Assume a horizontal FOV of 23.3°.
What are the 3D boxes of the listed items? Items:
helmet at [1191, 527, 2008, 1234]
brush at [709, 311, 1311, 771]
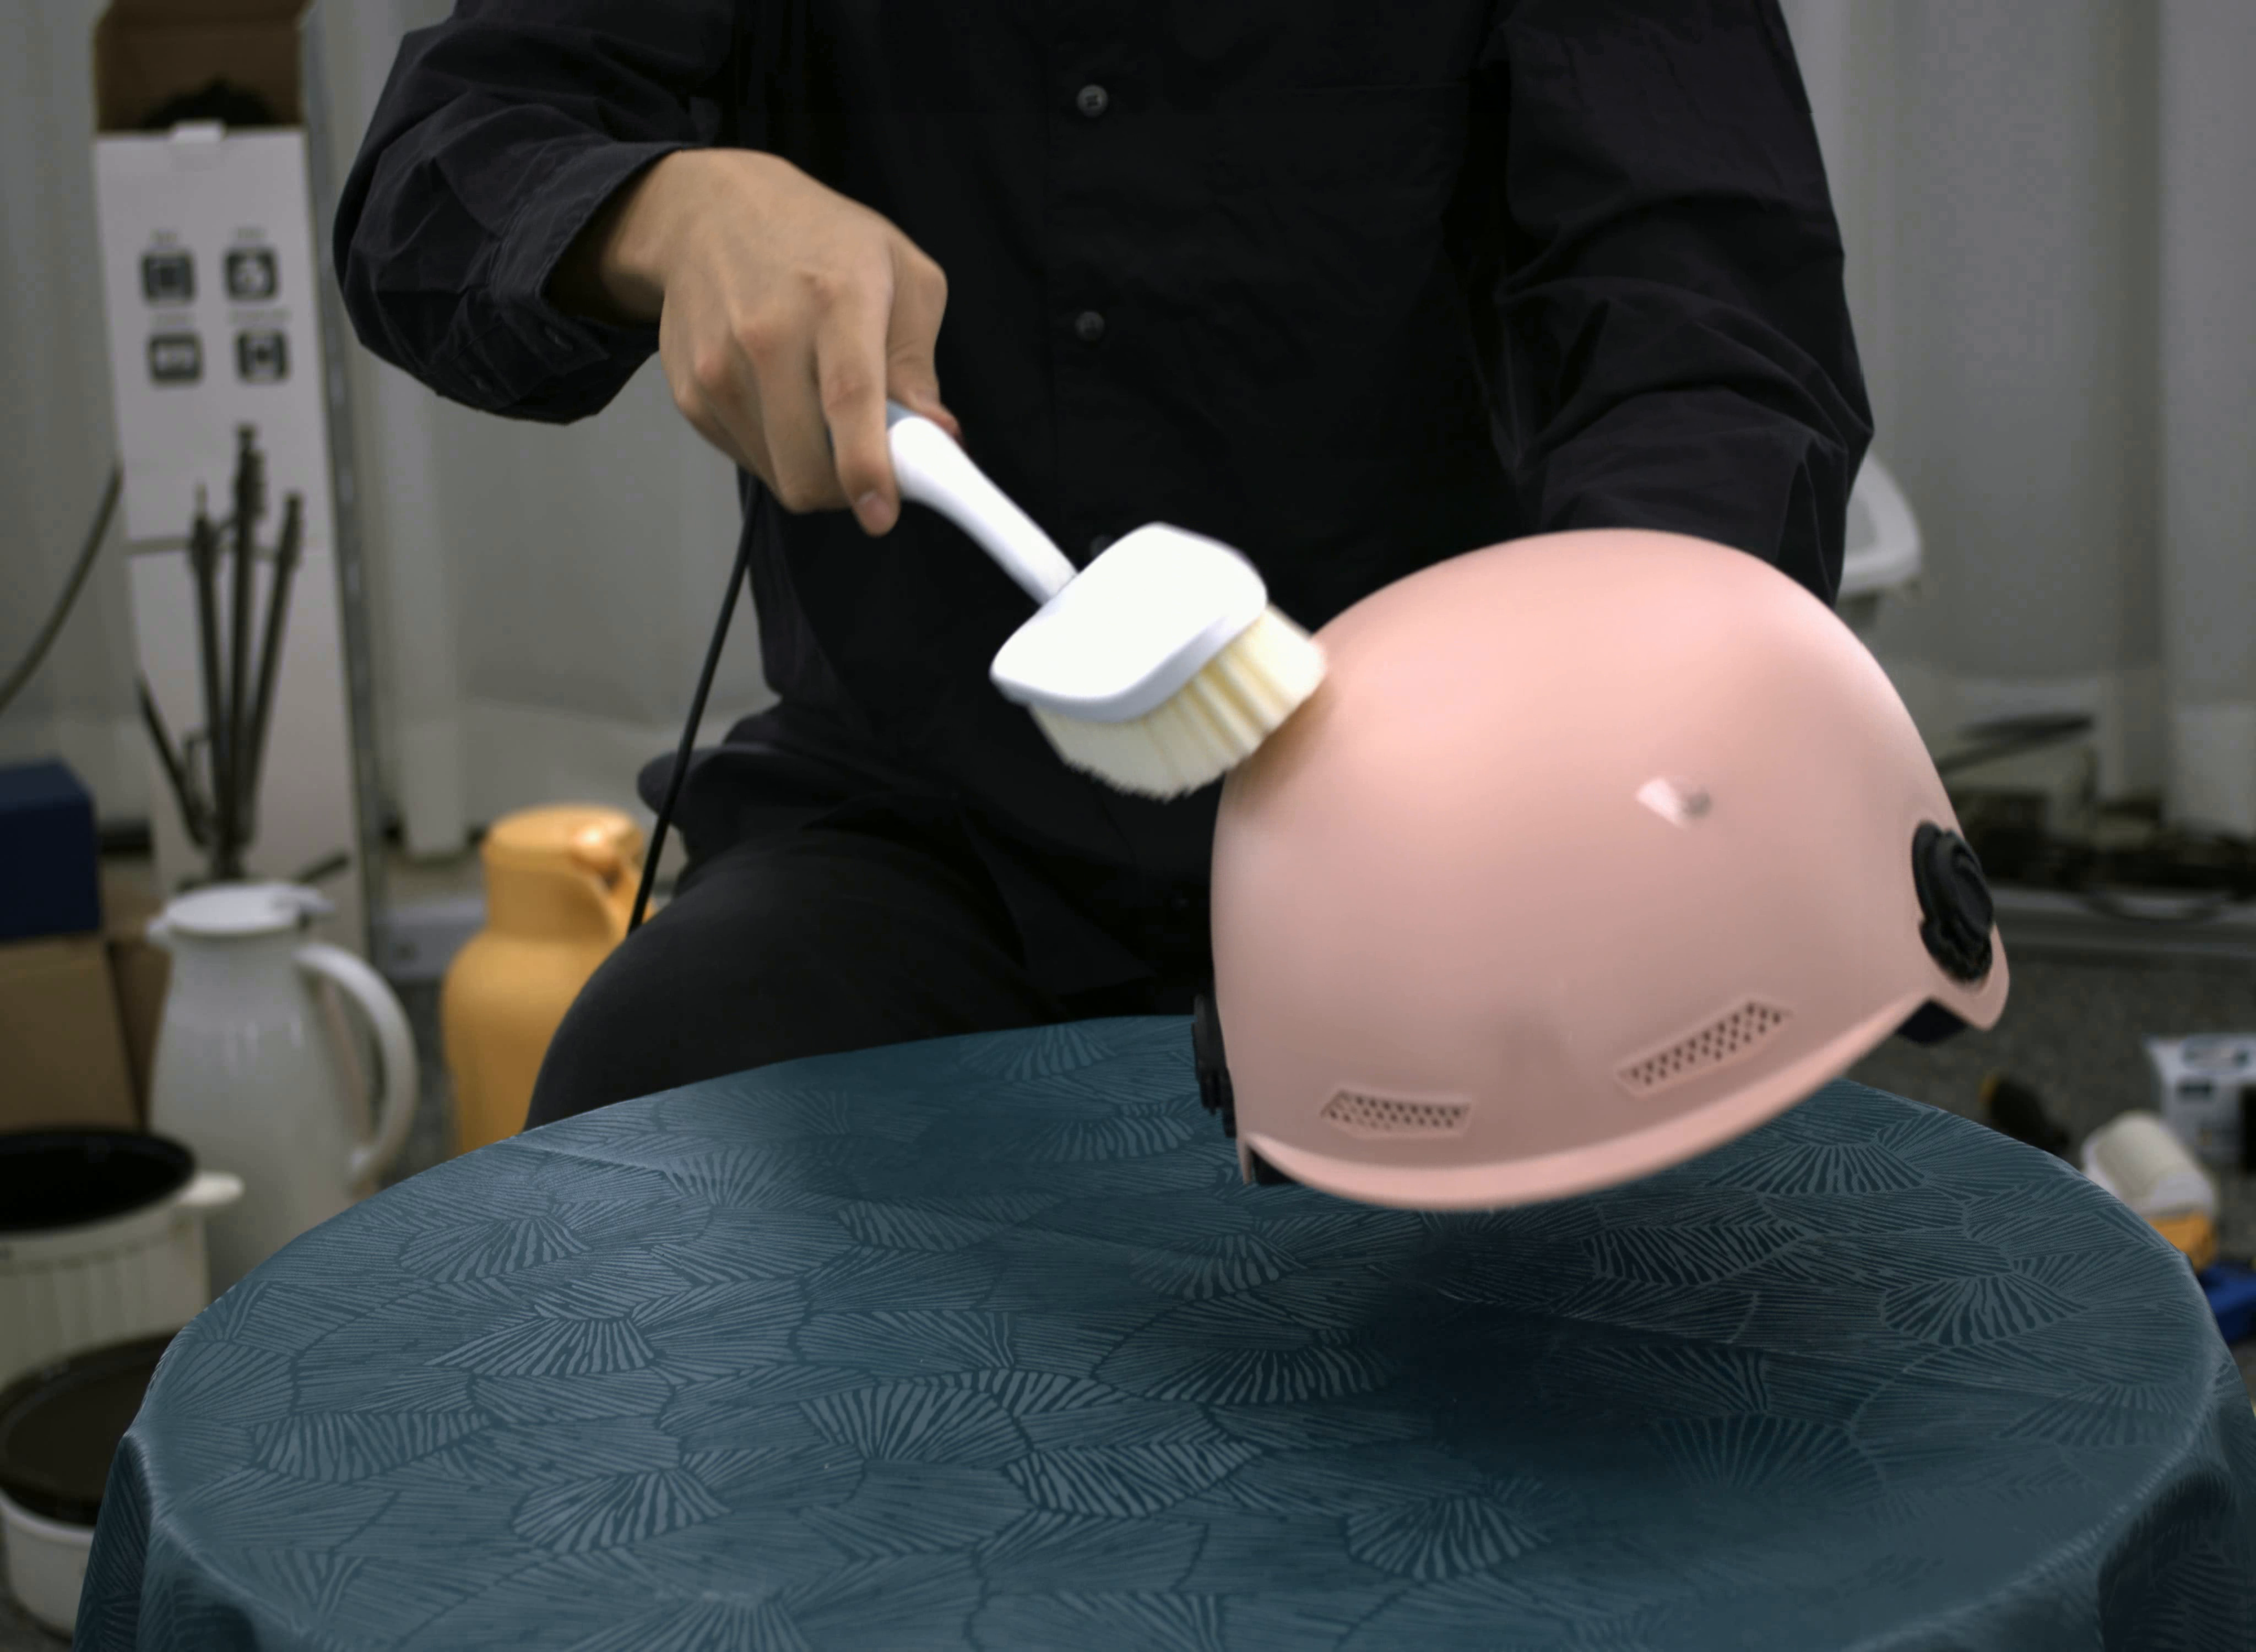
[{"bbox_3d":[0.122,0.002,1.557,0.233,0.158,0.267,-13,14,14],"label":"helmet"},{"bbox_3d":[-0.033,-0.084,1.649,0.082,0.084,0.328,-6,20,-27],"label":"brush"}]
